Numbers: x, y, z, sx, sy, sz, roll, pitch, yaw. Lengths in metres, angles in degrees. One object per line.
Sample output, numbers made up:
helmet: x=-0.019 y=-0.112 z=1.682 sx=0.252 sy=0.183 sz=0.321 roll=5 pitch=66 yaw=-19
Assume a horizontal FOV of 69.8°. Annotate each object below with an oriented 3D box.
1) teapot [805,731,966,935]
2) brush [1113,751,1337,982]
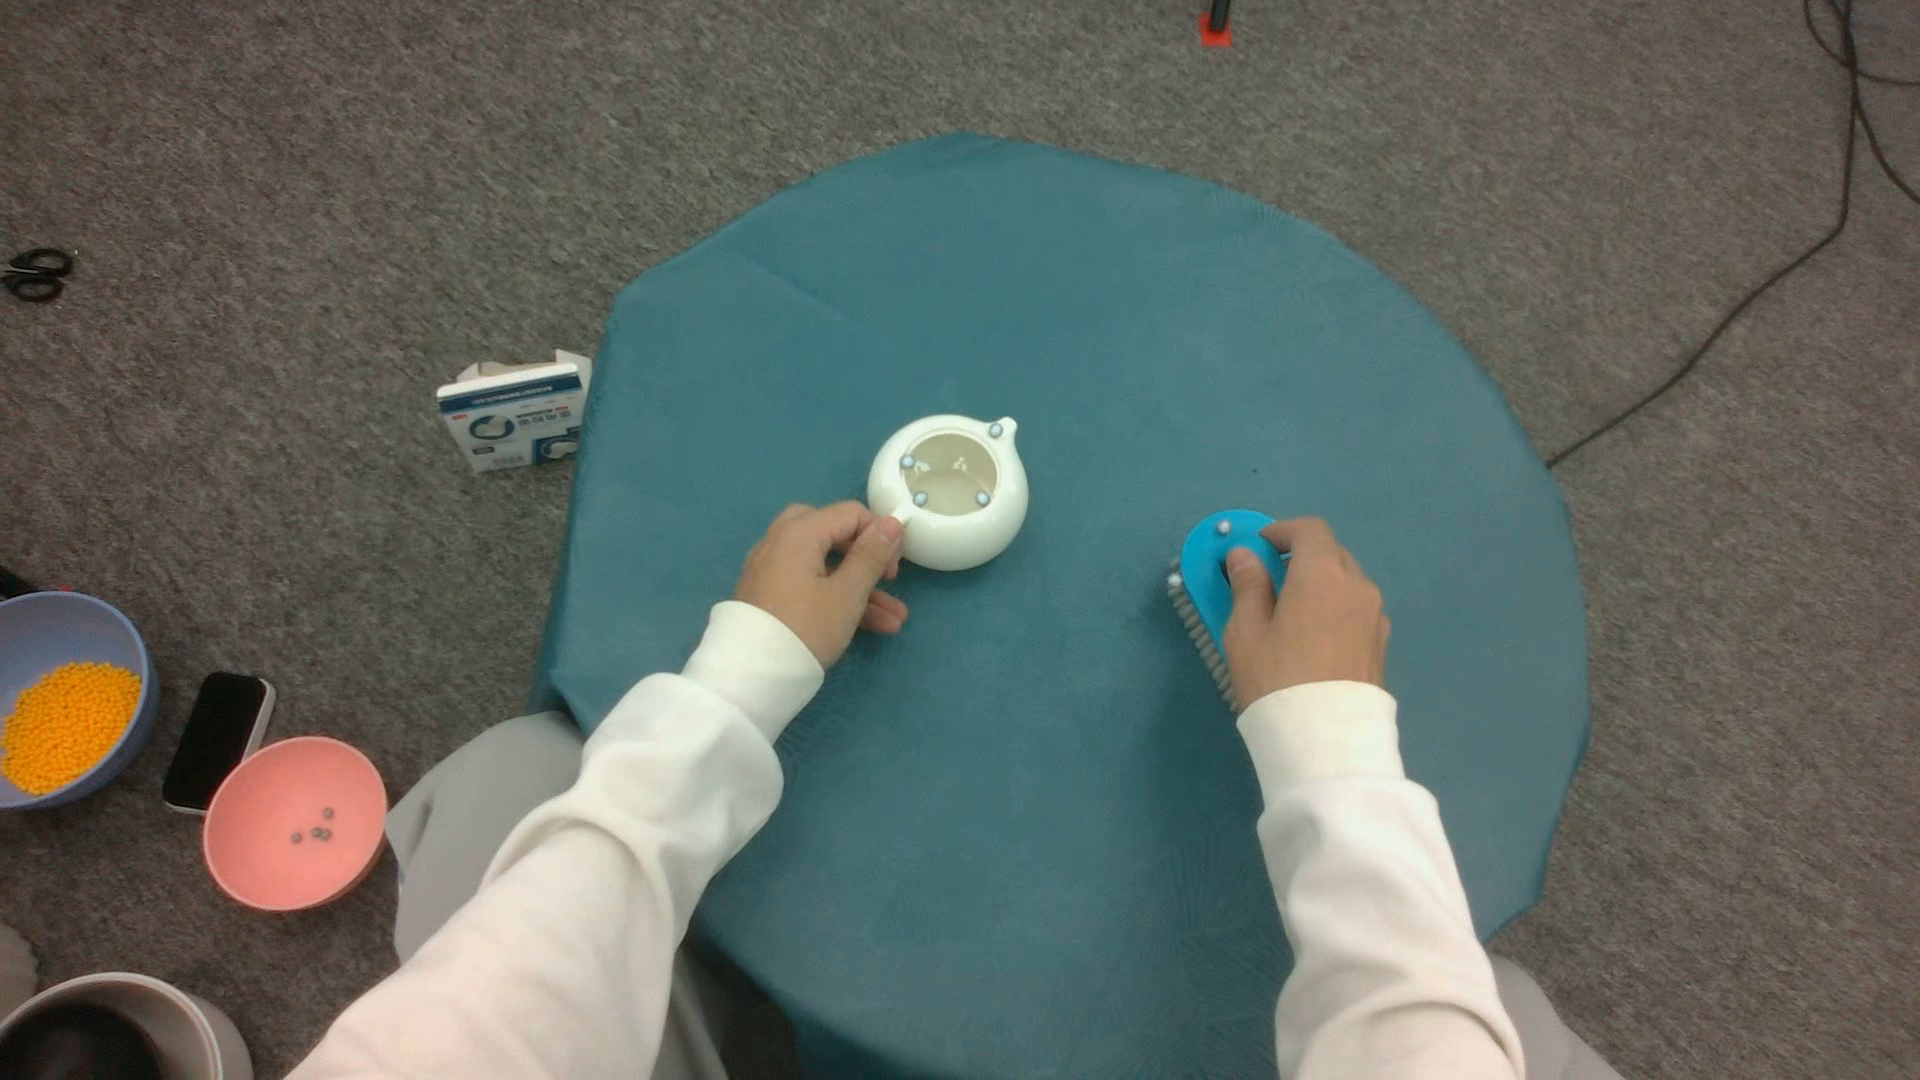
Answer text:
teapot: x=-0.048 y=0.171 z=0.798 sx=0.093 sy=0.056 sz=0.128 roll=21 pitch=55 yaw=14
brush: x=0.151 y=0.172 z=0.770 sx=0.084 sy=0.063 sz=0.142 roll=-32 pitch=60 yaw=-23
